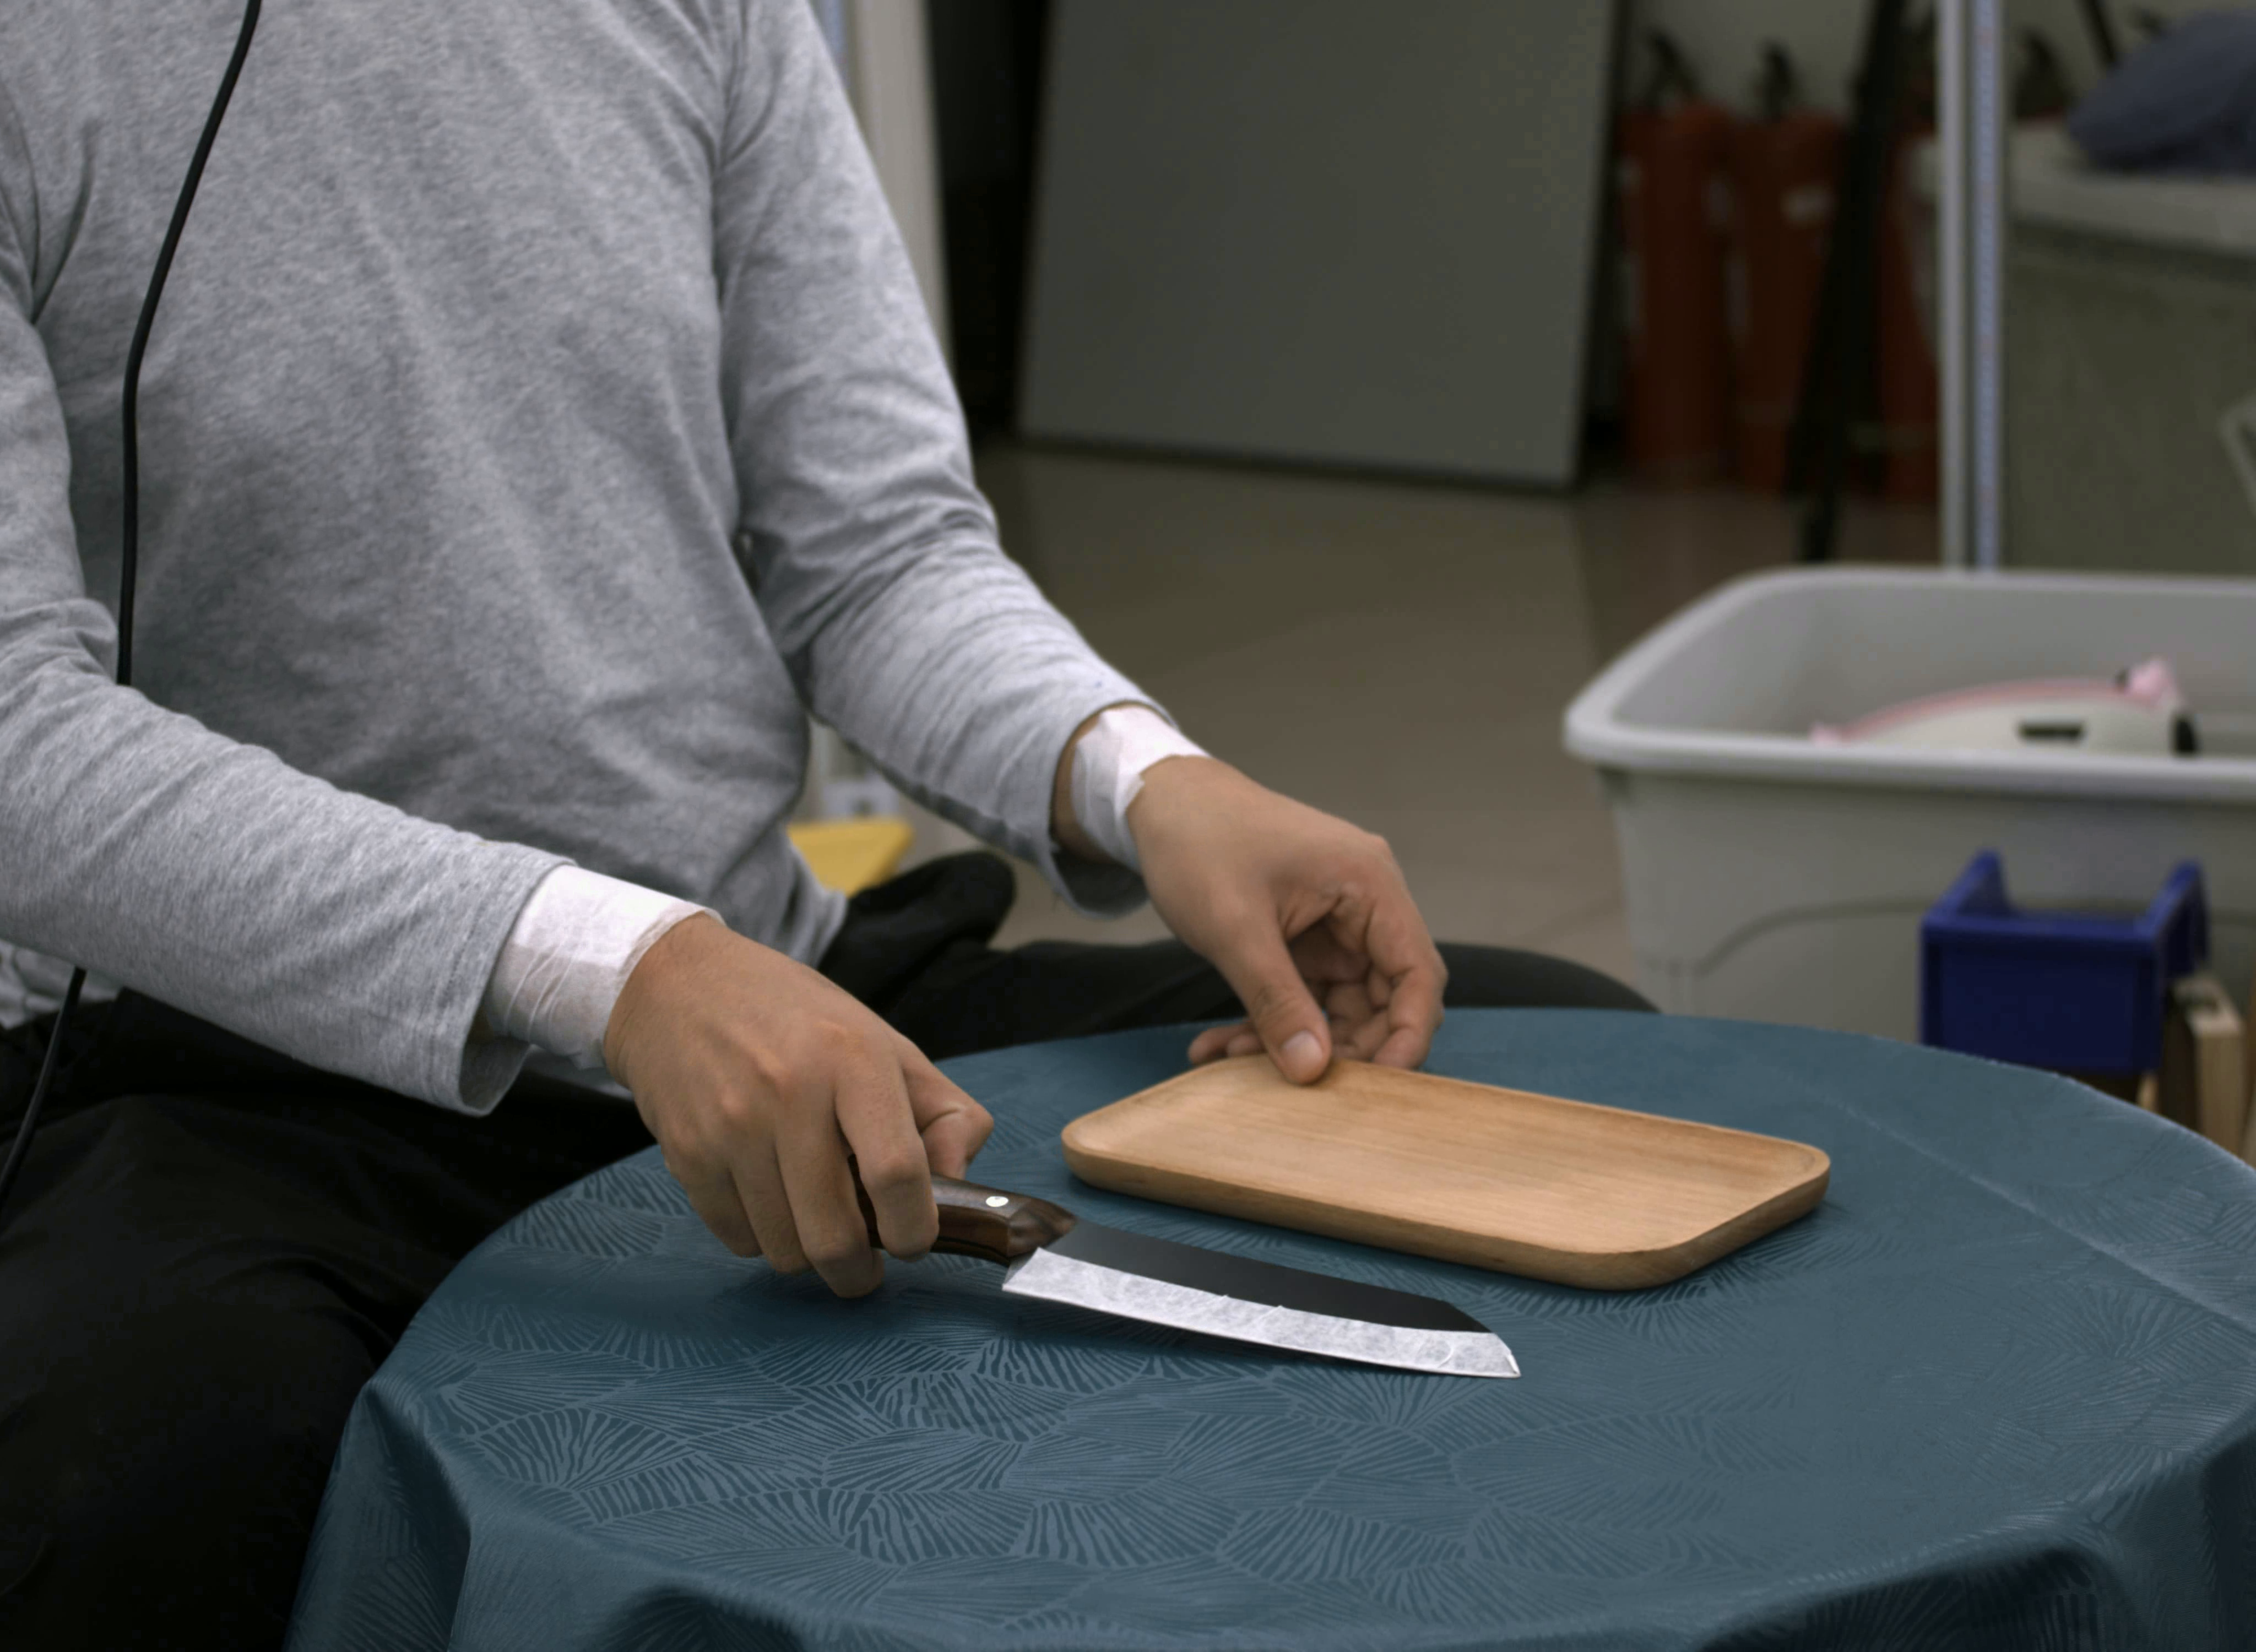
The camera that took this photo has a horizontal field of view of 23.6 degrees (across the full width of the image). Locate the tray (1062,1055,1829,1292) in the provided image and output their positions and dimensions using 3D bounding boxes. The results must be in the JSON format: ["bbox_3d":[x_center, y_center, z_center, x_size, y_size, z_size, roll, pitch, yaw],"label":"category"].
[{"bbox_3d":[0.101,0.112,1.753,0.253,0.023,0.128,7,16,42],"label":"tray"}]

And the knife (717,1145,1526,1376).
[{"bbox_3d":[-0.007,0.135,1.649,0.290,0.020,0.049,11,31,29],"label":"knife"}]
